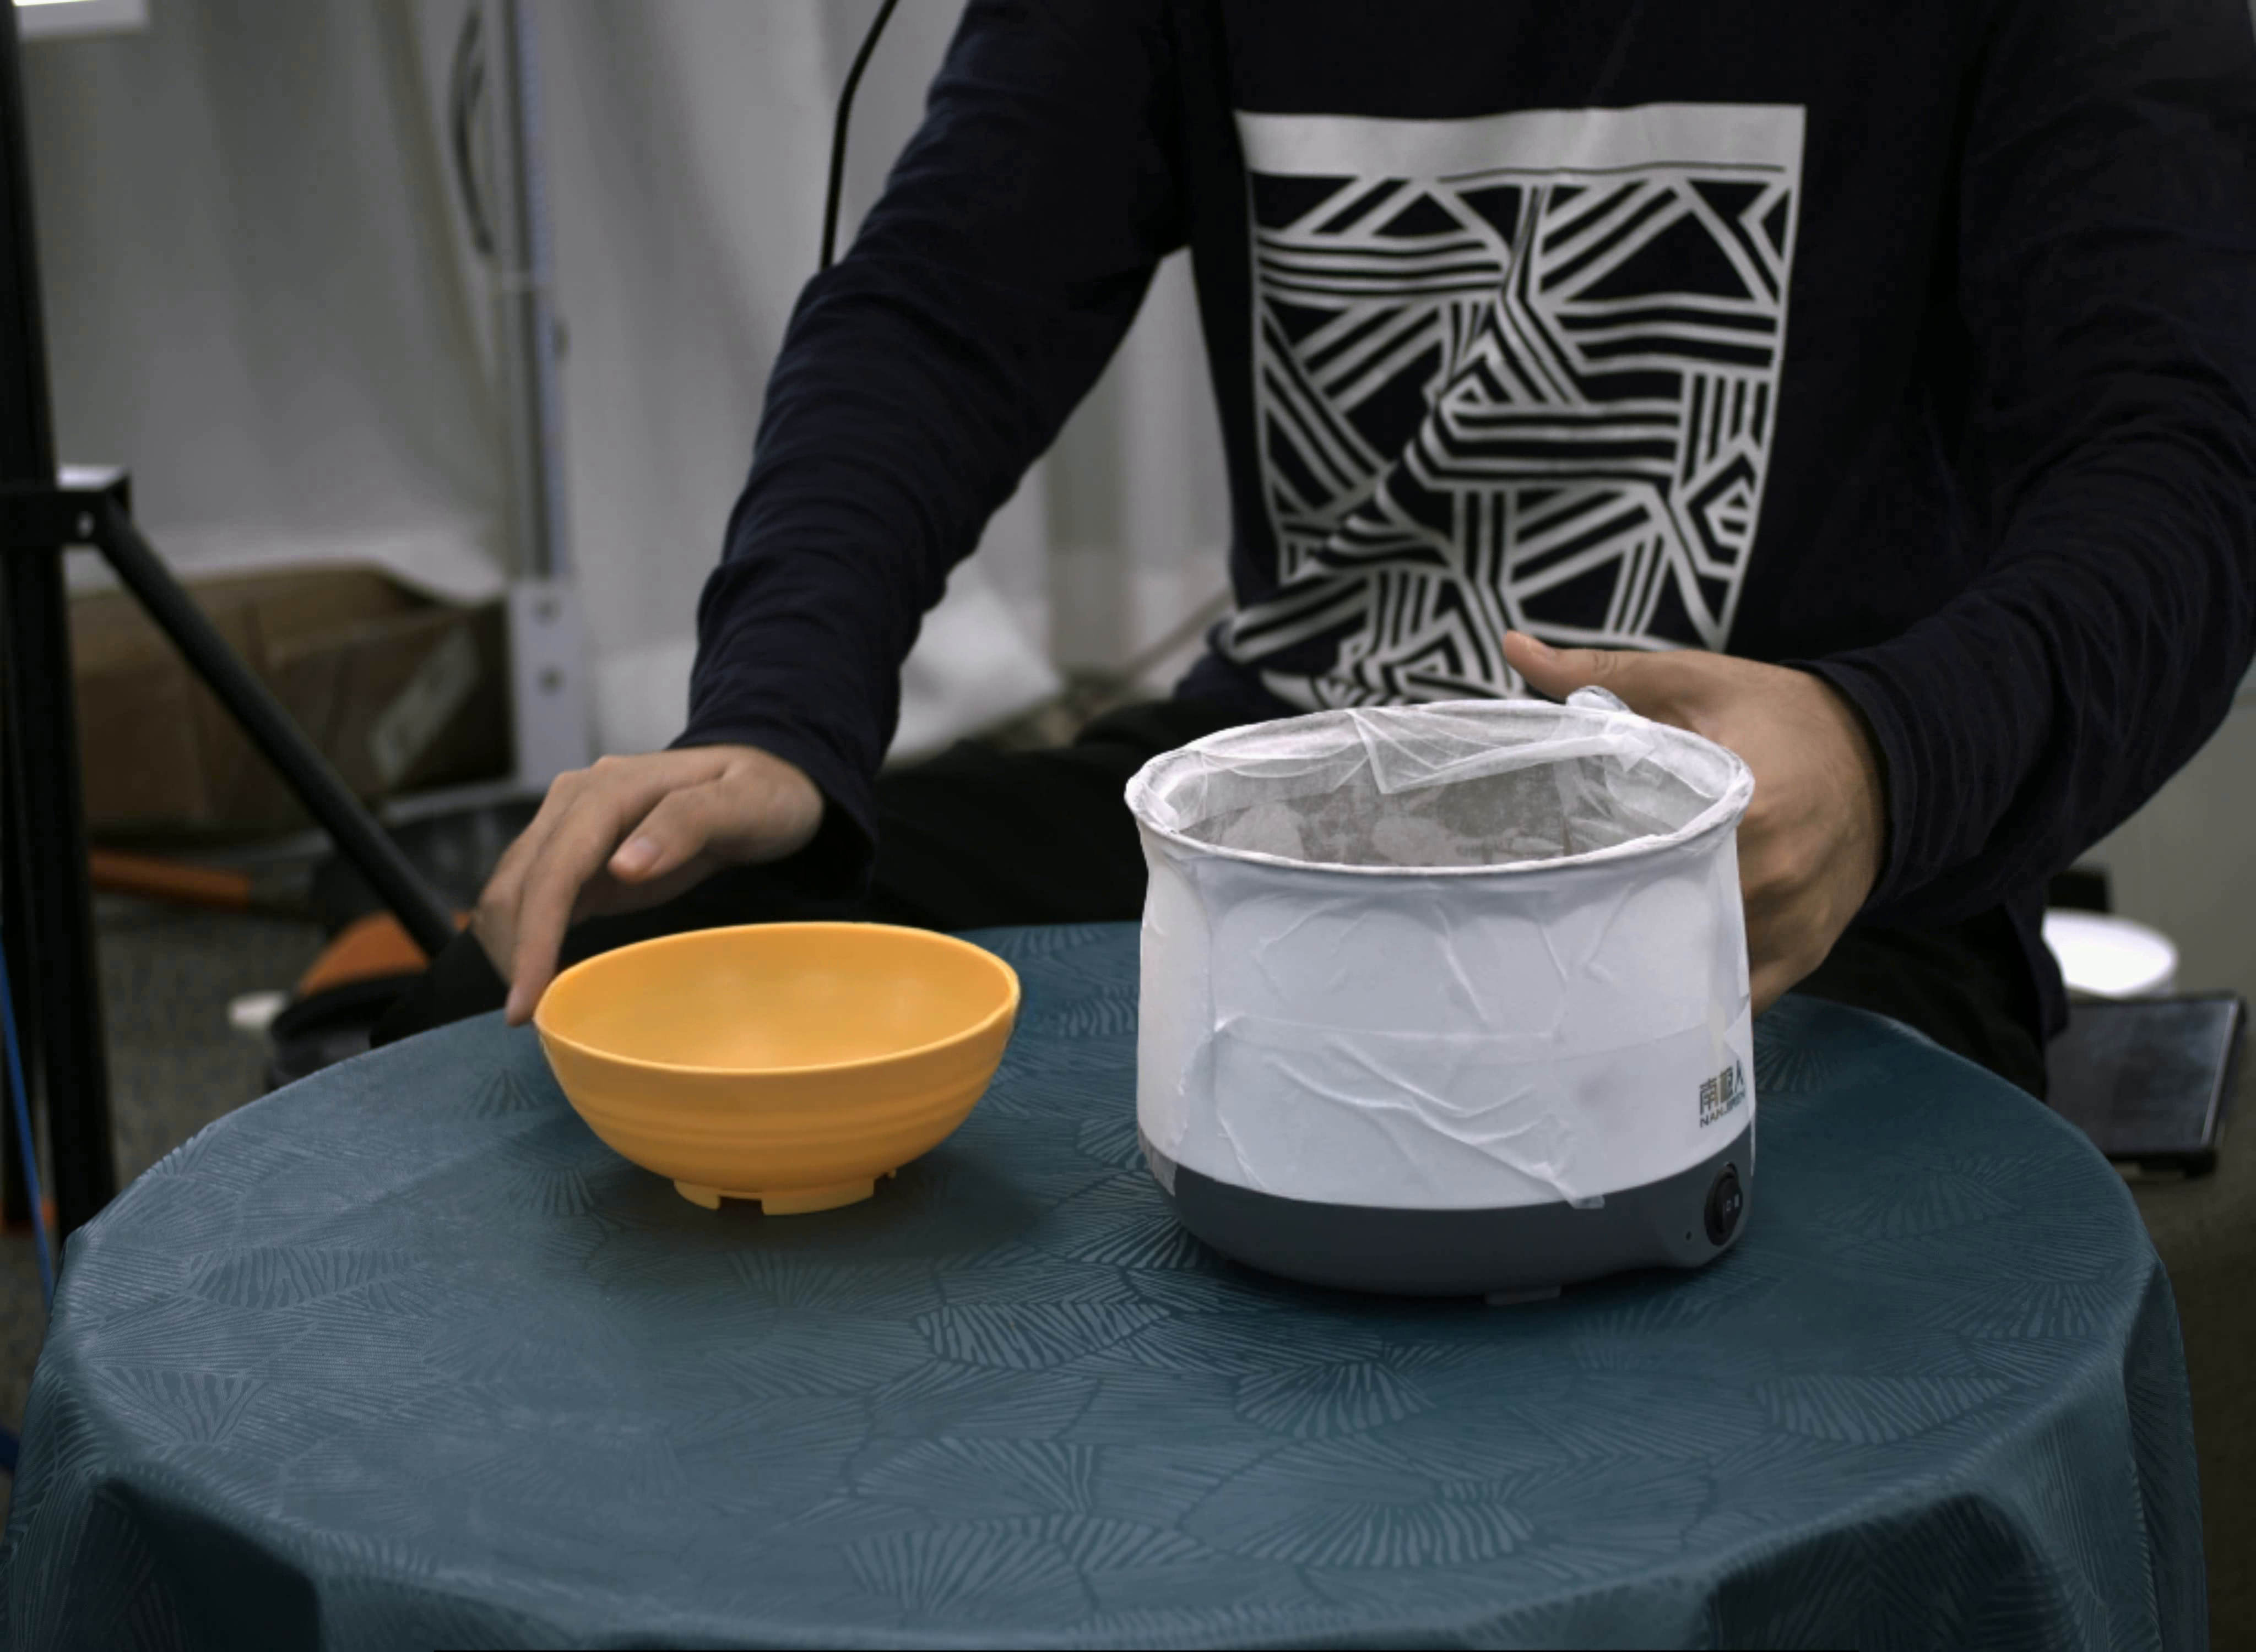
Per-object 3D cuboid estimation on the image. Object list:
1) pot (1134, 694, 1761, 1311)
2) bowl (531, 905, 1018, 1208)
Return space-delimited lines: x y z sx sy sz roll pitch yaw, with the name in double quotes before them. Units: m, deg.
"pot" 0.104 0.044 1.529 0.182 0.136 0.229 7 17 30
"bowl" -0.104 0.075 1.581 0.144 0.060 0.146 -2 18 -1
